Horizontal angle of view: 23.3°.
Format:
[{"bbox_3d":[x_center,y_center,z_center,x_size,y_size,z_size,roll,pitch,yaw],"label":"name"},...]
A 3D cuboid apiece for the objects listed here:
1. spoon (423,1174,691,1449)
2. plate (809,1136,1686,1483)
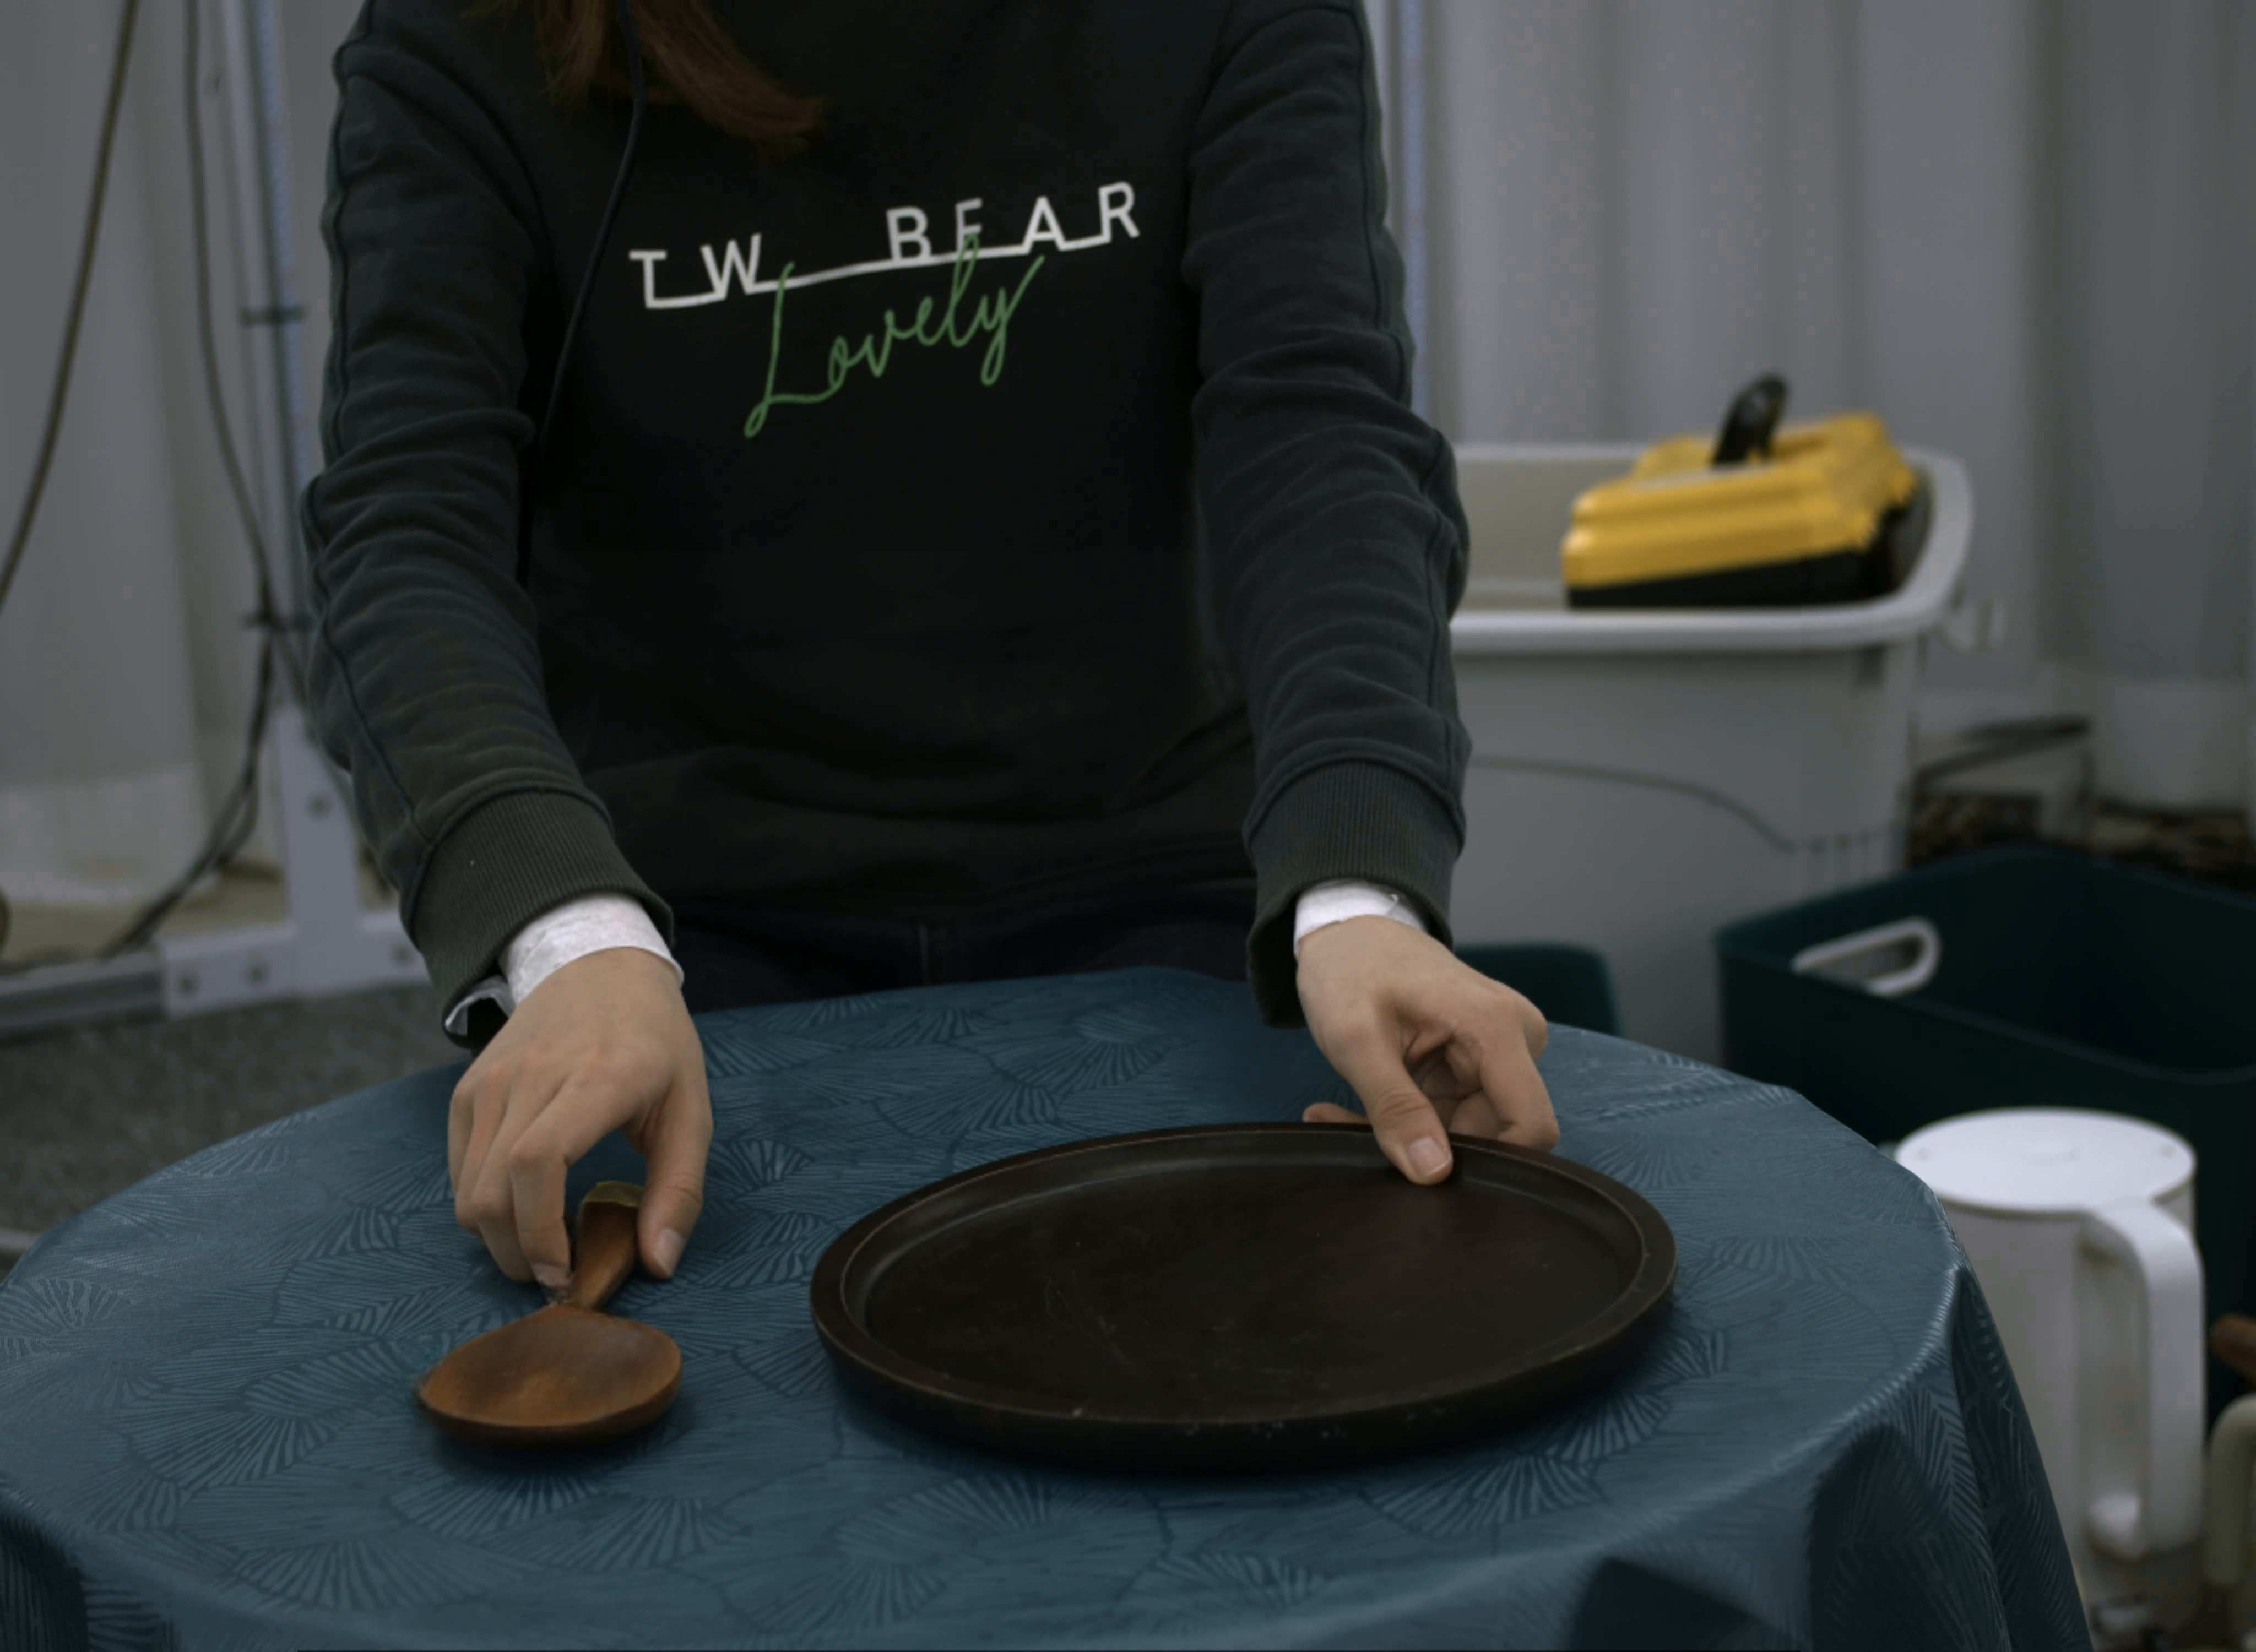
[{"bbox_3d":[-0.159,0.143,1.603,0.075,0.017,0.217,-3,15,2],"label":"spoon"},{"bbox_3d":[0.034,0.137,1.583,0.254,0.029,0.256,-2,16,0],"label":"plate"}]
